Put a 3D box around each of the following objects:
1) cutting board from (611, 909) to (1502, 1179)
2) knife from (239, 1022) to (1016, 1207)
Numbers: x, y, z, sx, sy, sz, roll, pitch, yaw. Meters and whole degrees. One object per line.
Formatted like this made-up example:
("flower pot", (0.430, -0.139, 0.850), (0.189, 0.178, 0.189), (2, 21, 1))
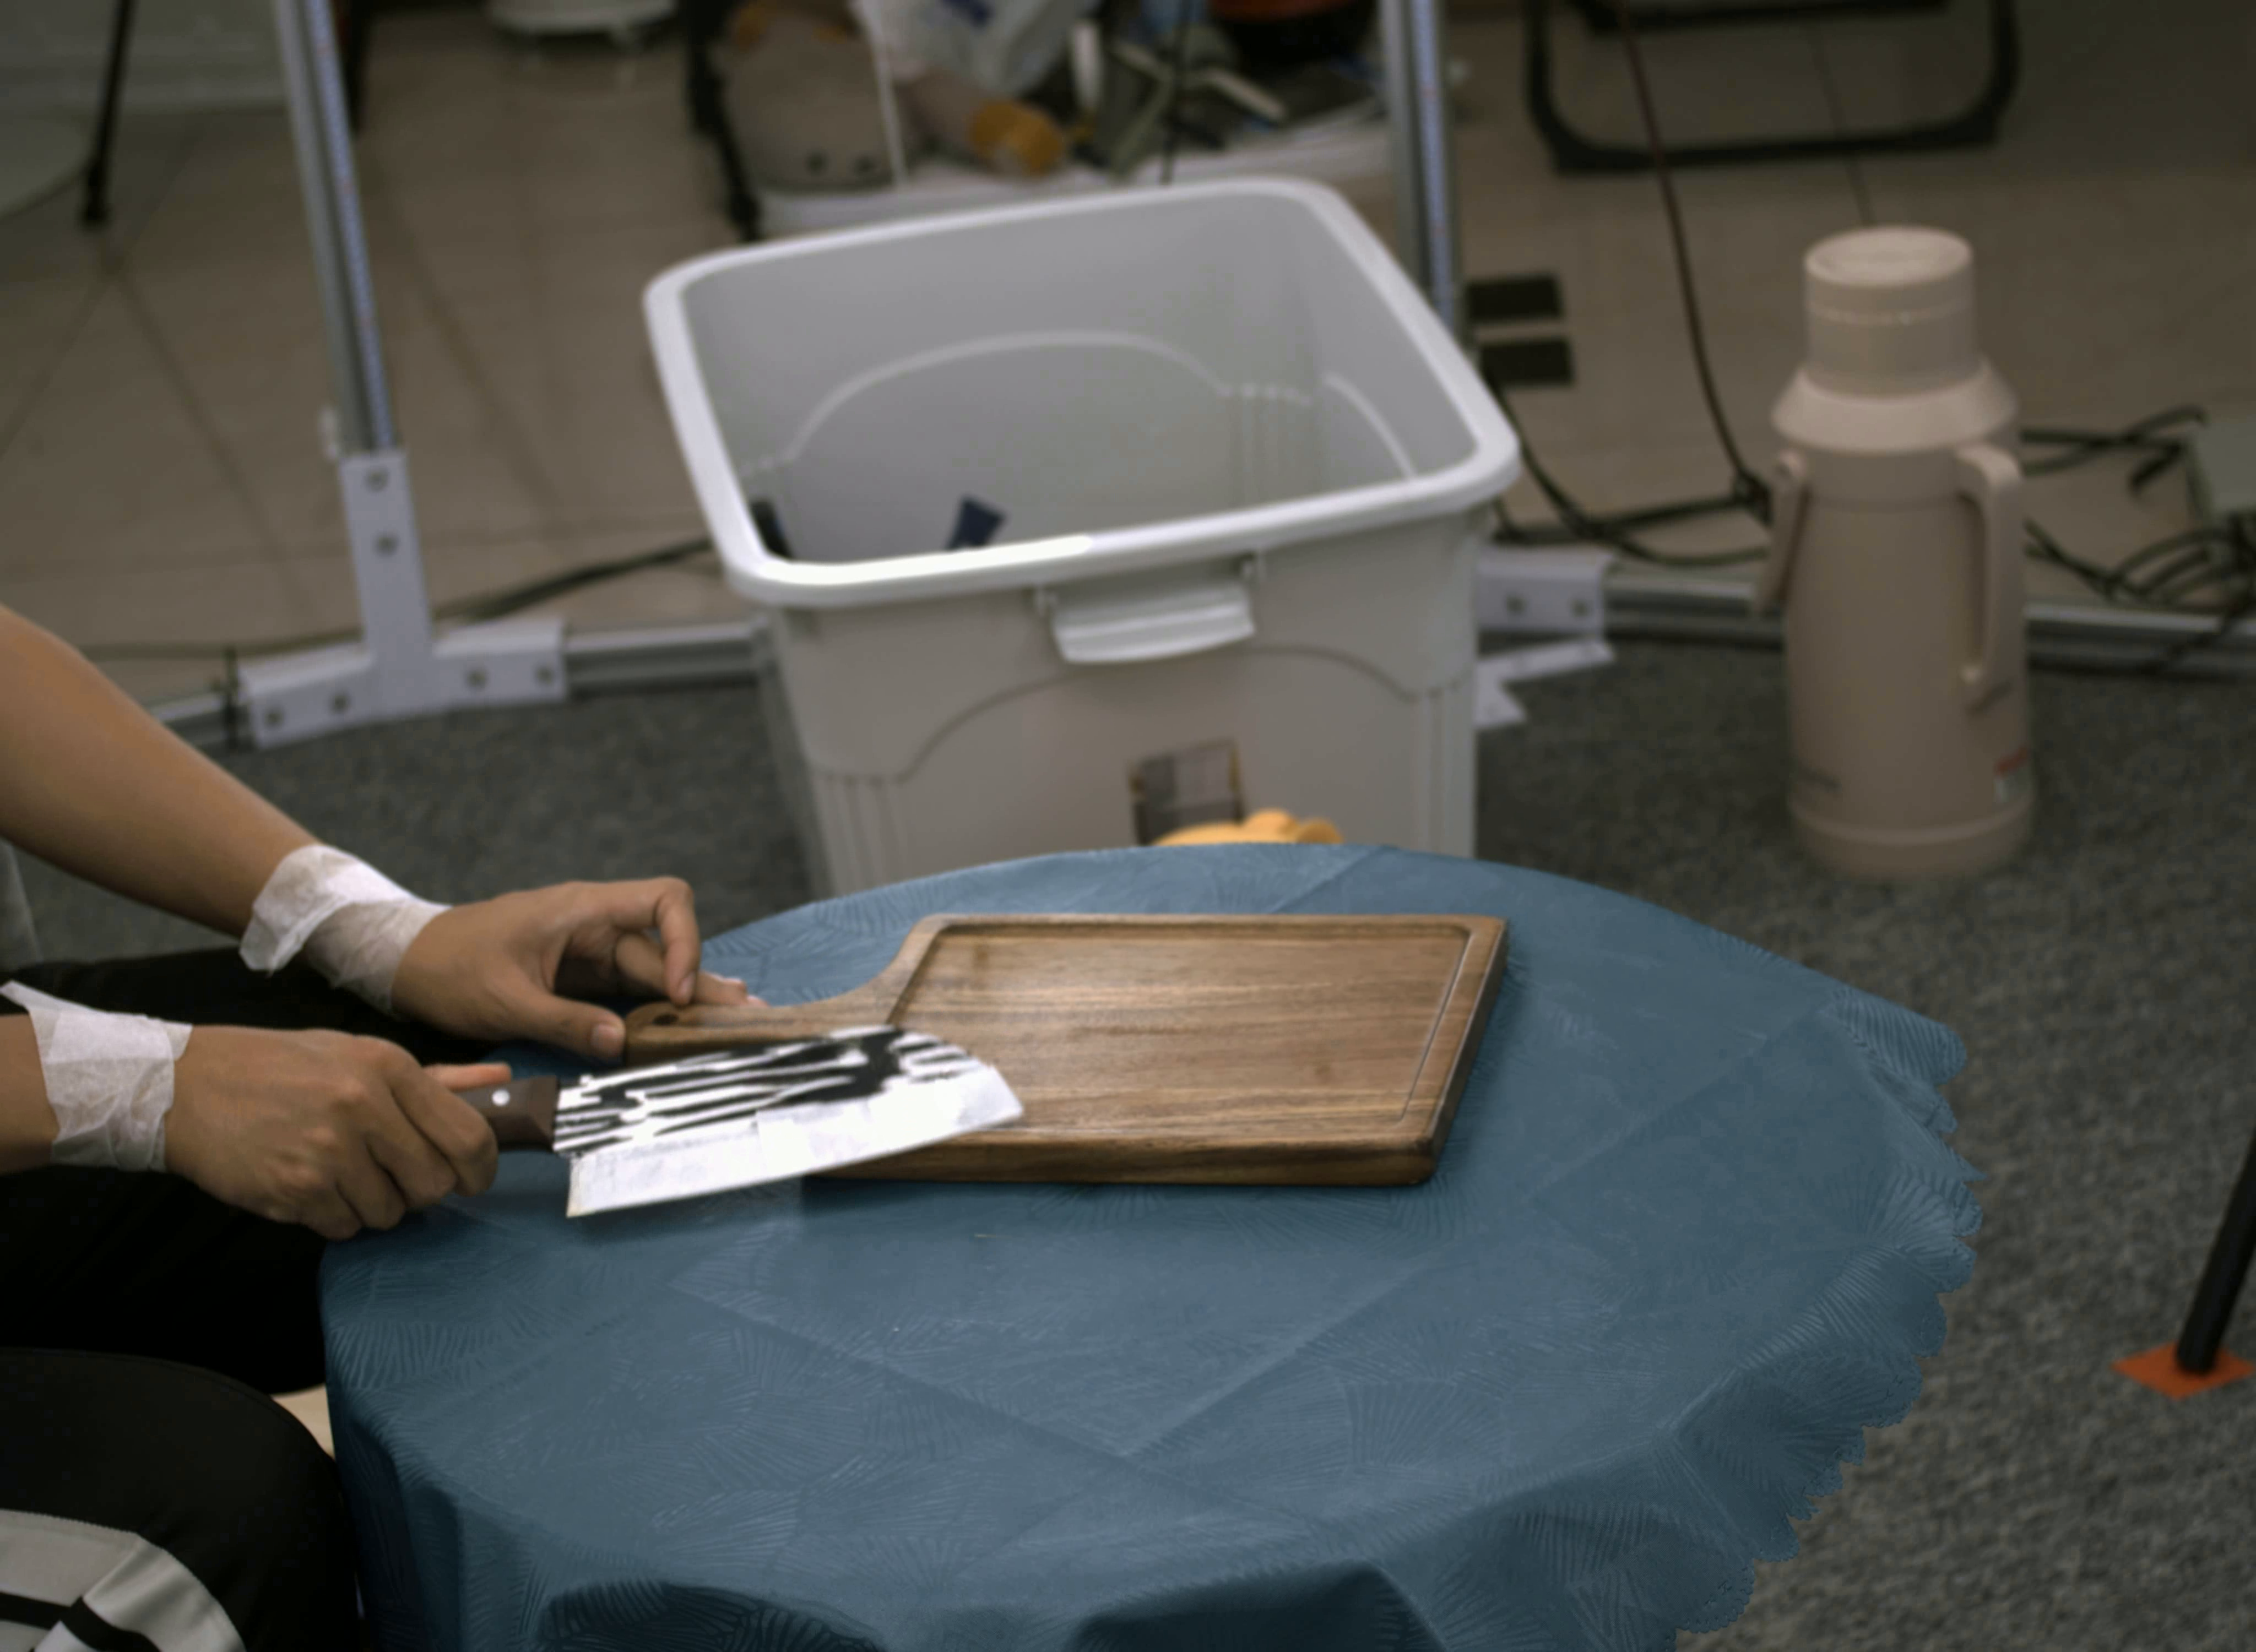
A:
("cutting board", (-0.036, 0.085, 2.251), (0.351, 0.023, 0.198), (-1, 26, 14))
("knife", (-0.193, 0.116, 2.183), (0.299, 0.024, 0.067), (-9, 49, -2))
